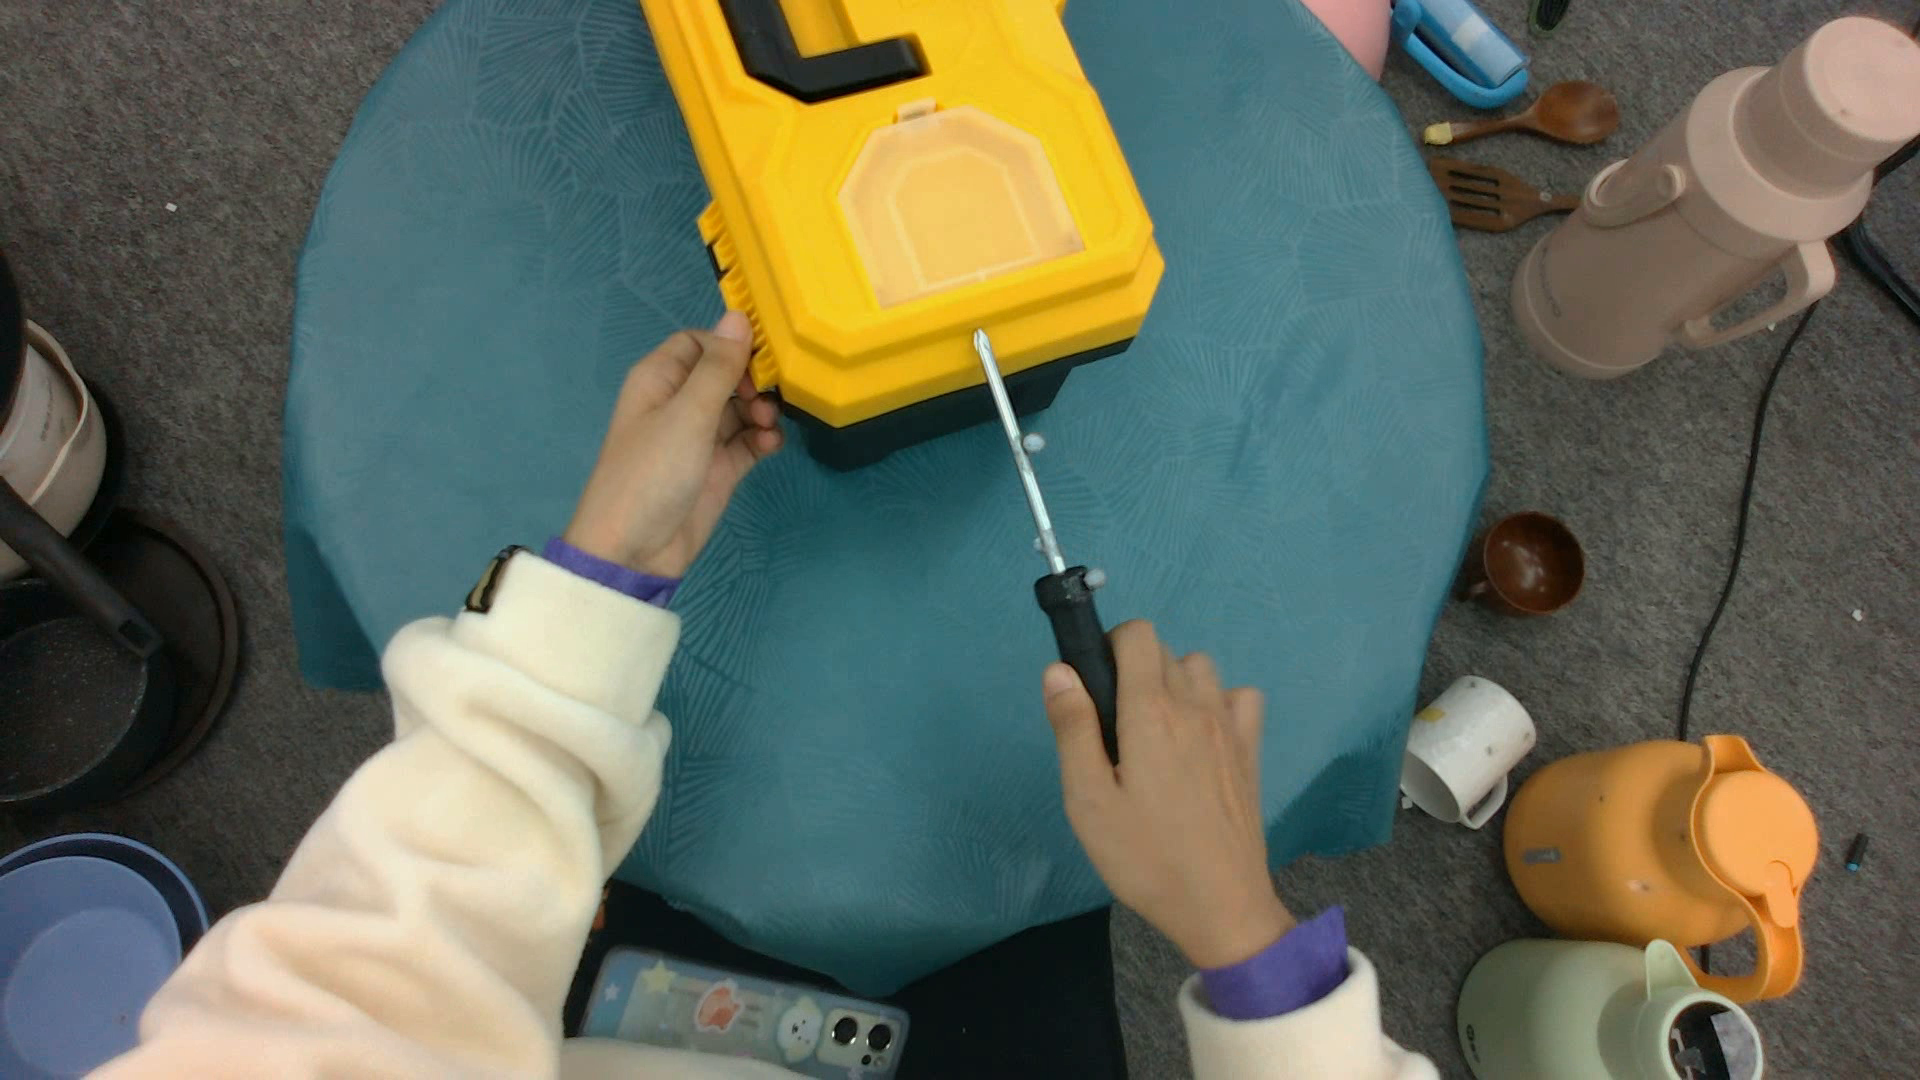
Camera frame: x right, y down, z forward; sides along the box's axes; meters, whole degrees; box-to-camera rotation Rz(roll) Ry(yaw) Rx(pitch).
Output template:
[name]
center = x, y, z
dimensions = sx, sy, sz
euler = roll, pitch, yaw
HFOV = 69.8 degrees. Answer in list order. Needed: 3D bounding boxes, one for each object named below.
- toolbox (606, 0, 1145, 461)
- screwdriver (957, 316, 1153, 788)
[toolbox]
center = -0.062, -0.220, 0.632
dimensions = 0.181, 0.172, 0.352
euler = -18, 78, -12
[screwdriver]
center = 0.037, 0.004, 0.539
dimensions = 0.031, 0.031, 0.196
euler = -18, 96, -12
